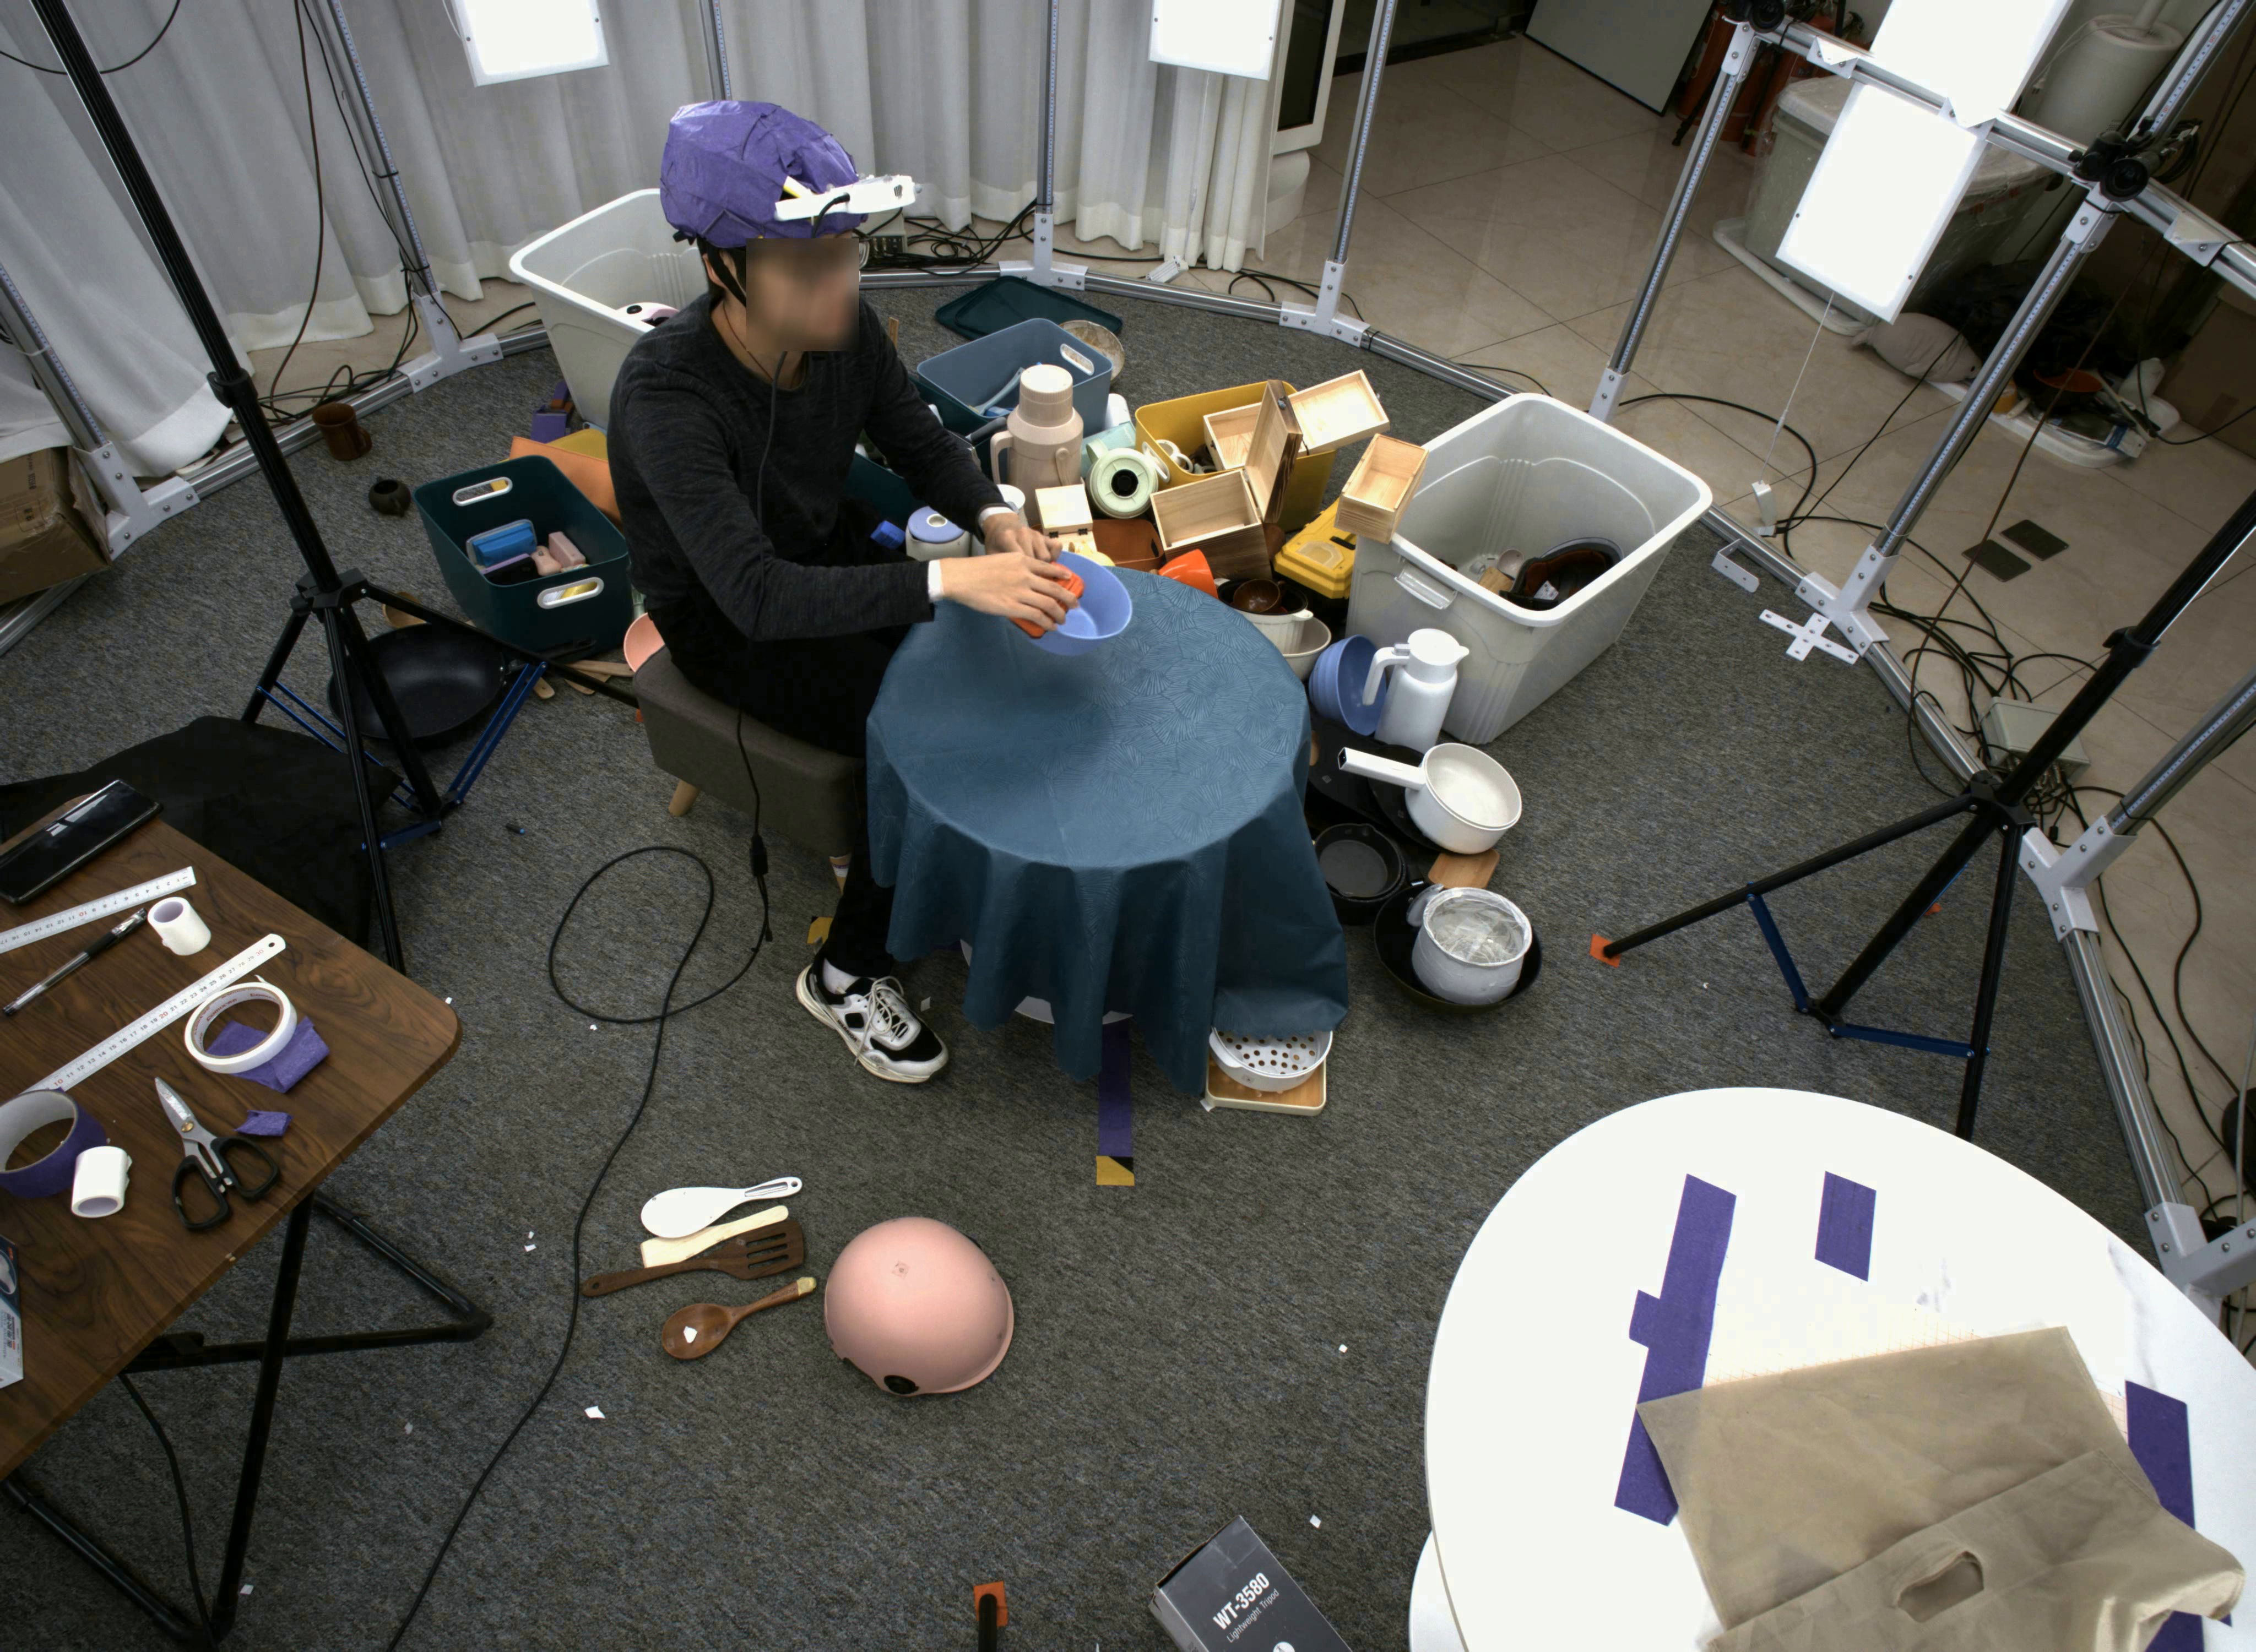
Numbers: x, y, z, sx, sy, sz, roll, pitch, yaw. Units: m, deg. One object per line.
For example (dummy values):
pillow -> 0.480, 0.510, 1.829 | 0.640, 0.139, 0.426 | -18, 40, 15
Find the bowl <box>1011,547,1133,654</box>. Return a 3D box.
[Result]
bowl -> -0.085, -0.300, 1.766 | 0.175, 0.069, 0.180 | 14, 45, -15

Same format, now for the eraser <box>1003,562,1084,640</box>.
eraser -> -0.109, -0.294, 1.683 | 0.059, 0.022, 0.109 | 37, 63, 7
